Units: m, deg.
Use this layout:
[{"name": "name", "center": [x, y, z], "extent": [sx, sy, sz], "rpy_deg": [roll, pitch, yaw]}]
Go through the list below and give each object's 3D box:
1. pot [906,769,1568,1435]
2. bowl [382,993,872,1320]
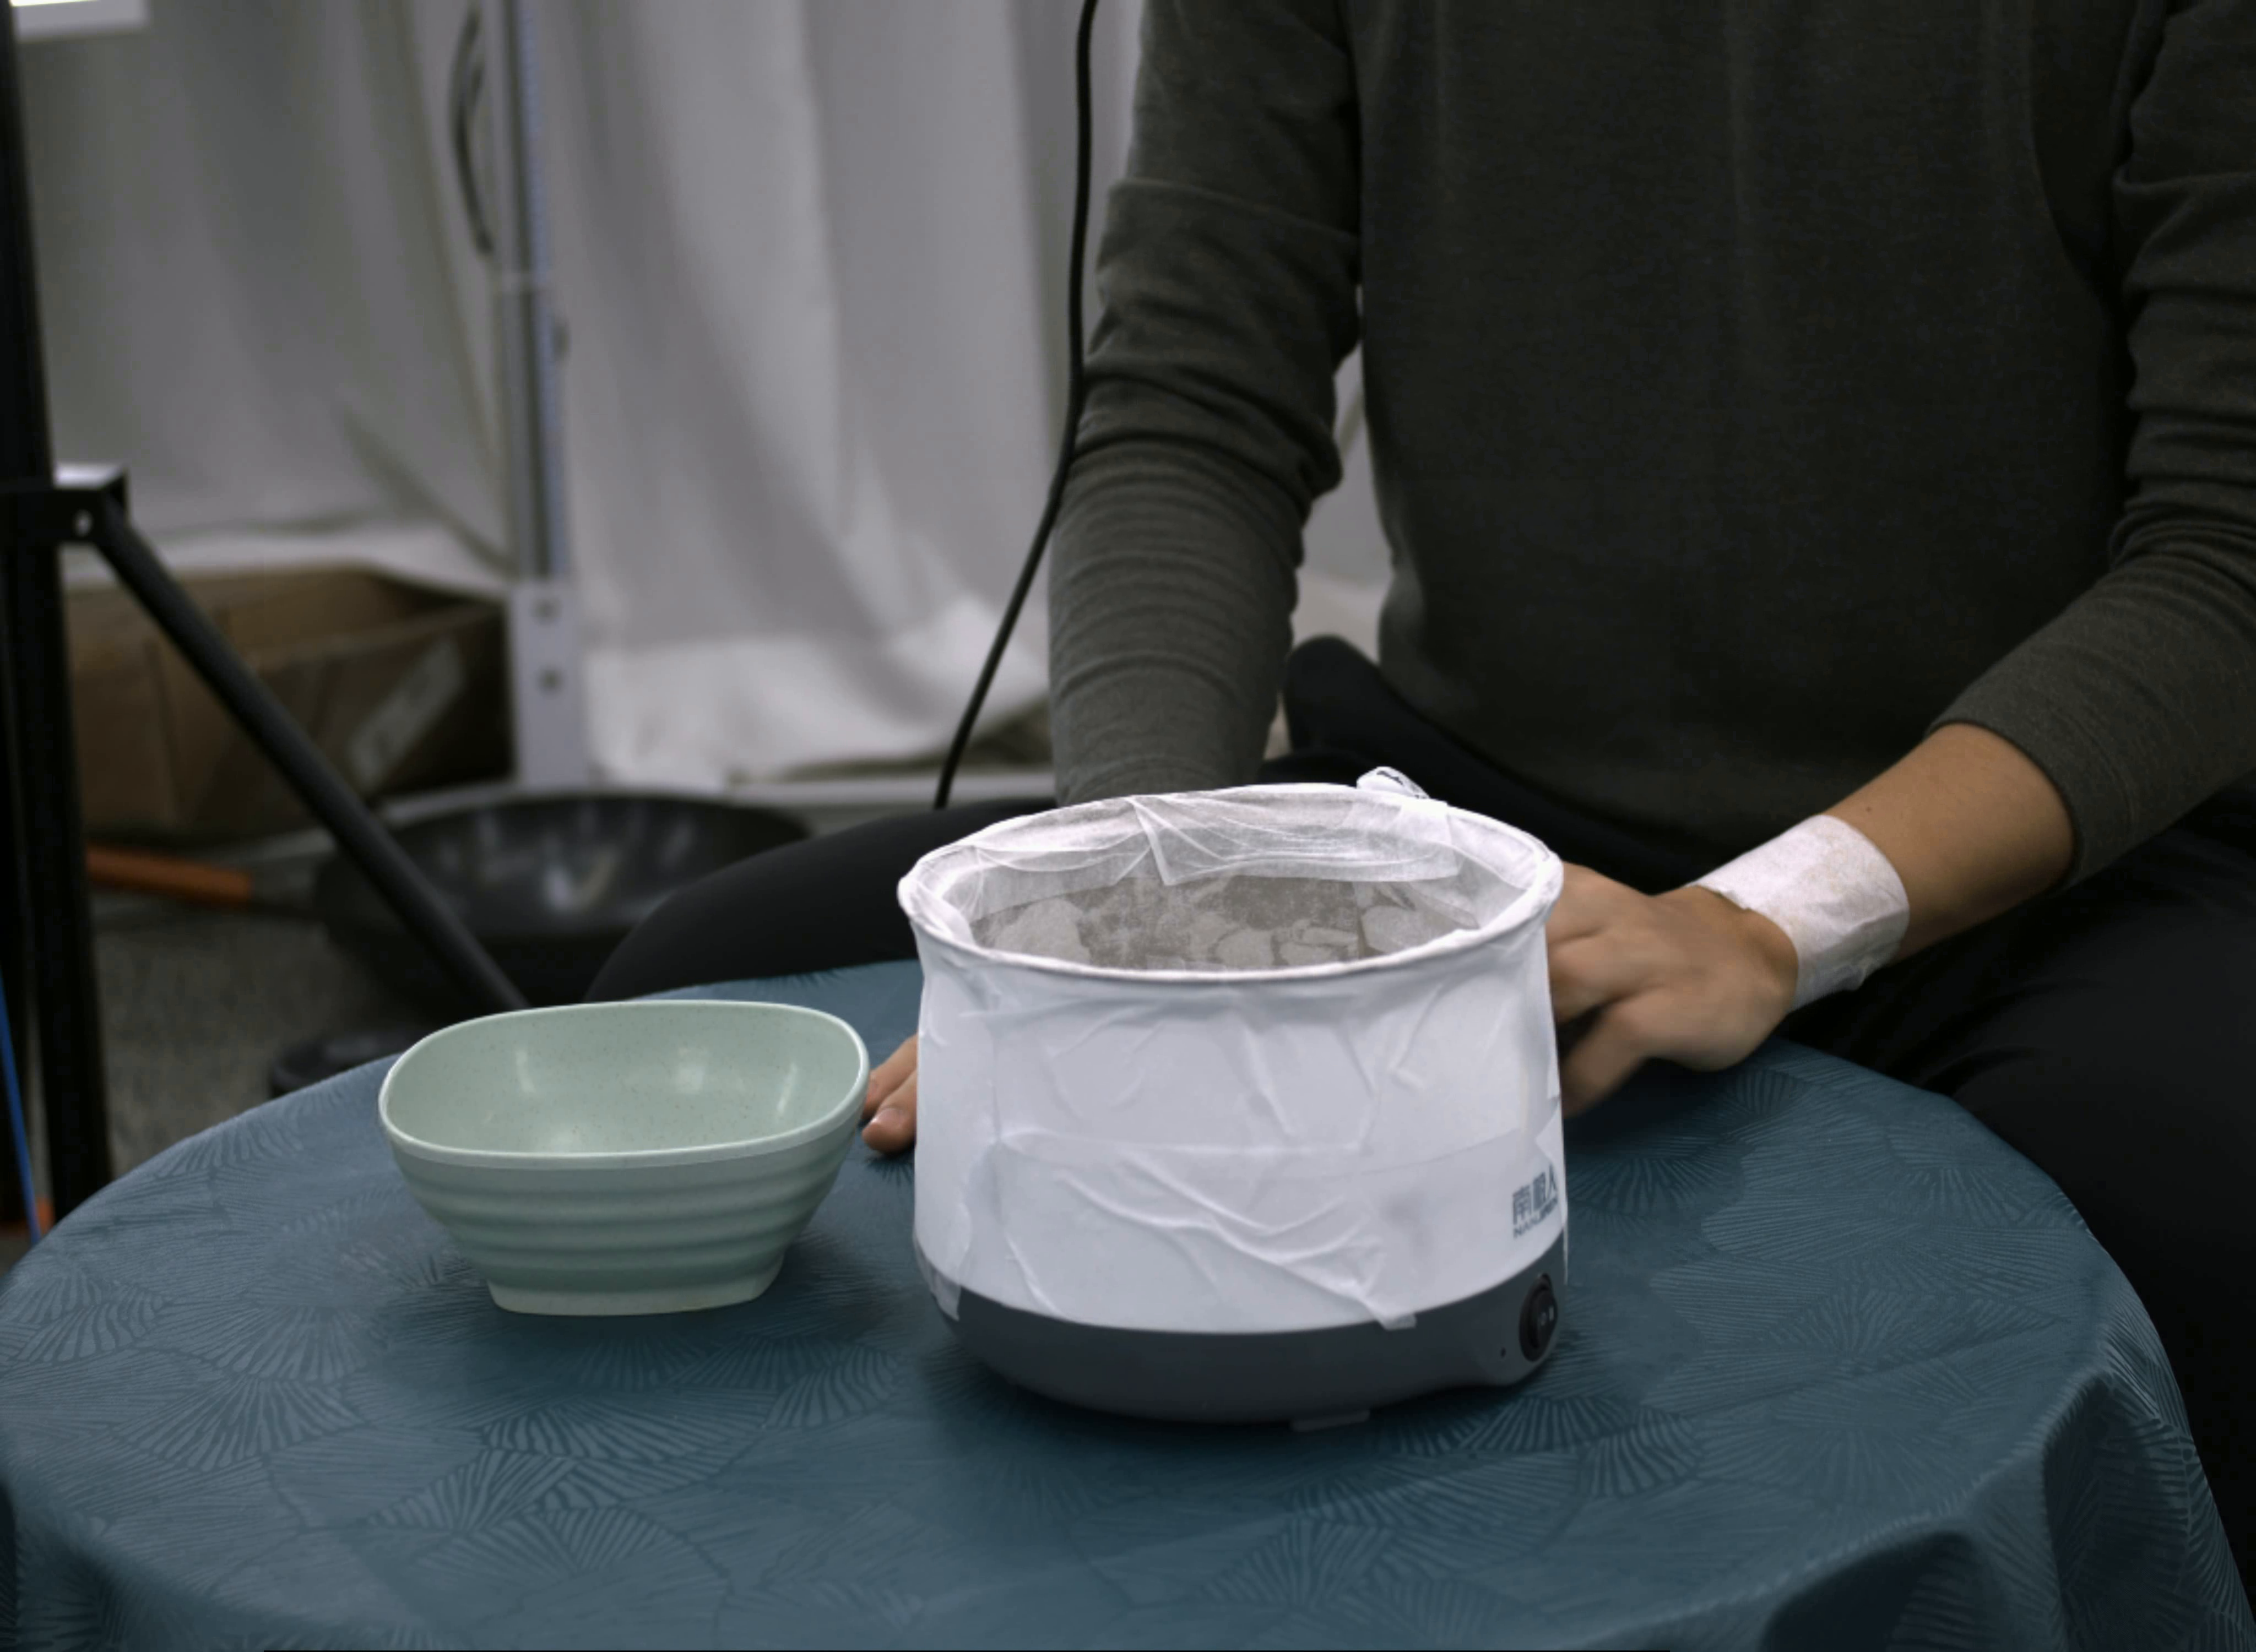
[{"name": "pot", "center": [0.042, 0.068, 1.448], "extent": [0.181, 0.136, 0.230], "rpy_deg": [6, 17, 26]}, {"name": "bowl", "center": [-0.140, 0.098, 1.518], "extent": [0.151, 0.058, 0.152], "rpy_deg": [-3, 17, 0]}]
